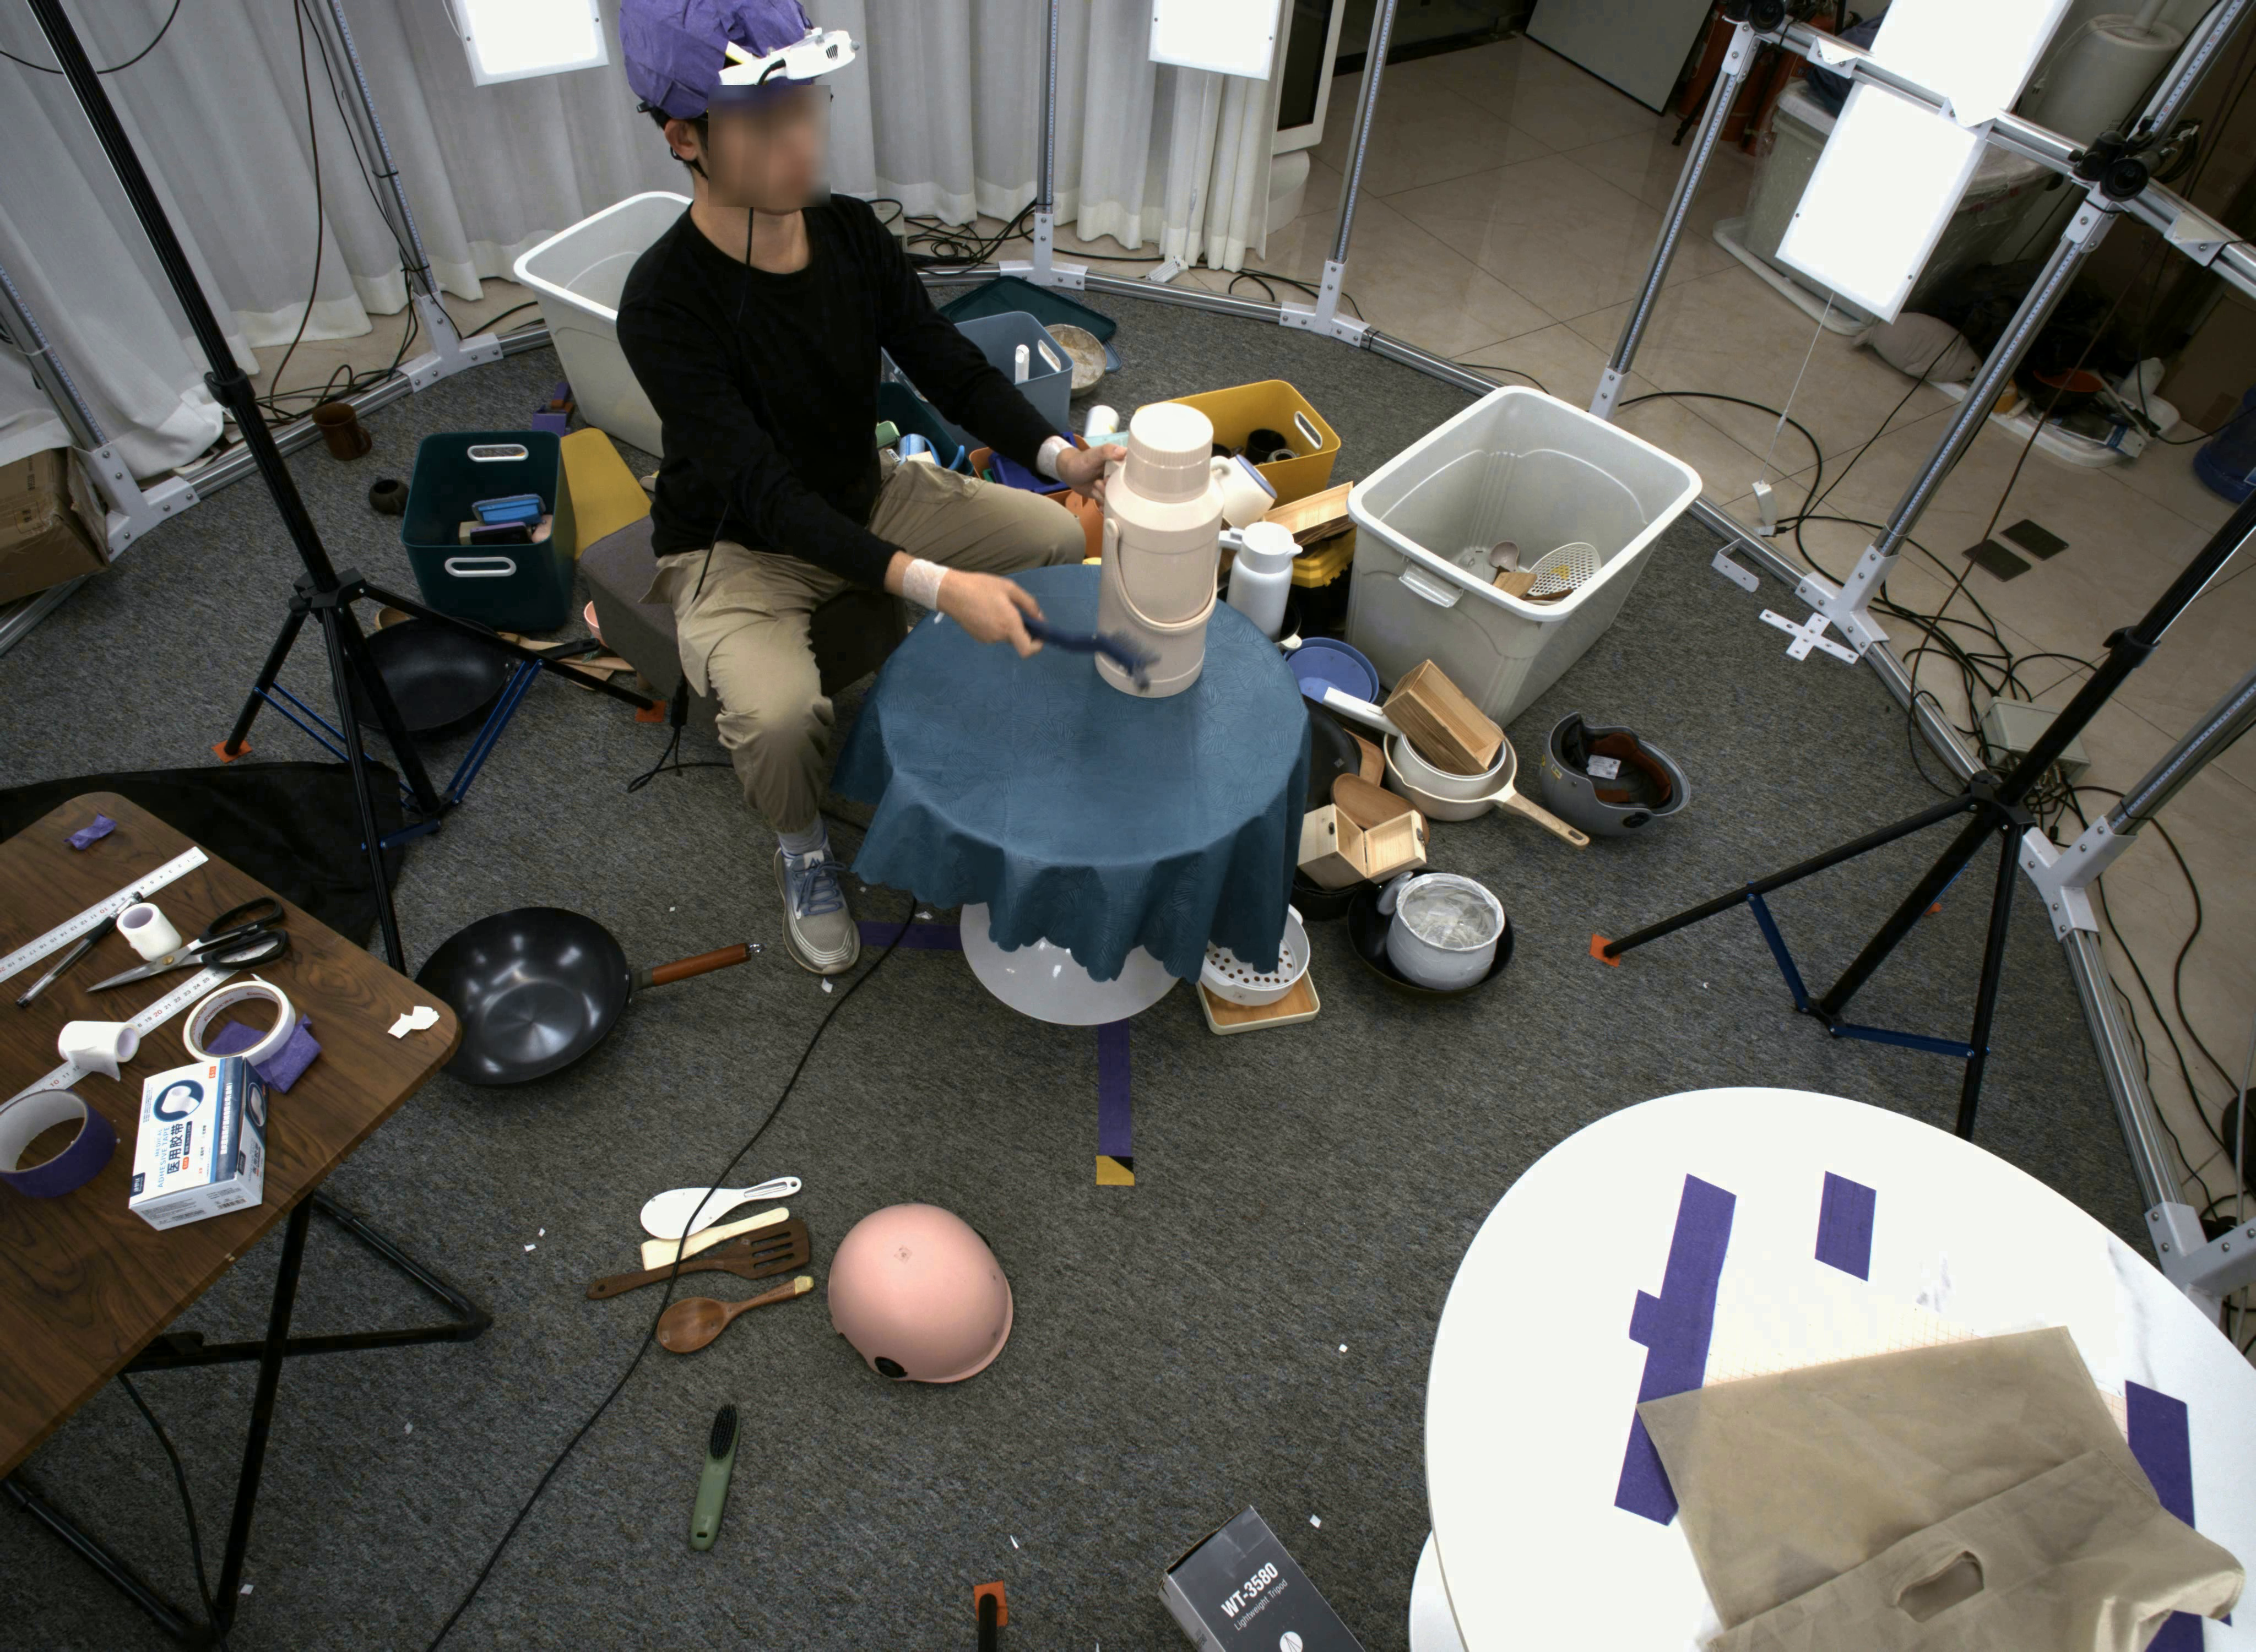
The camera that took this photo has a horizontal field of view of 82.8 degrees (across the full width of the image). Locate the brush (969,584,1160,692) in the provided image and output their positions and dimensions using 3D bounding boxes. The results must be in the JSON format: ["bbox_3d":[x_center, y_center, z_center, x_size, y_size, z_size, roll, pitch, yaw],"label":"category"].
[{"bbox_3d":[-0.091,-0.246,1.649,0.274,0.033,0.097,17,51,13],"label":"brush"}]

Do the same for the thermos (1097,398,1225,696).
[{"bbox_3d":[0.036,-0.380,1.746,0.176,0.396,0.211,-28,57,-24],"label":"thermos"}]
